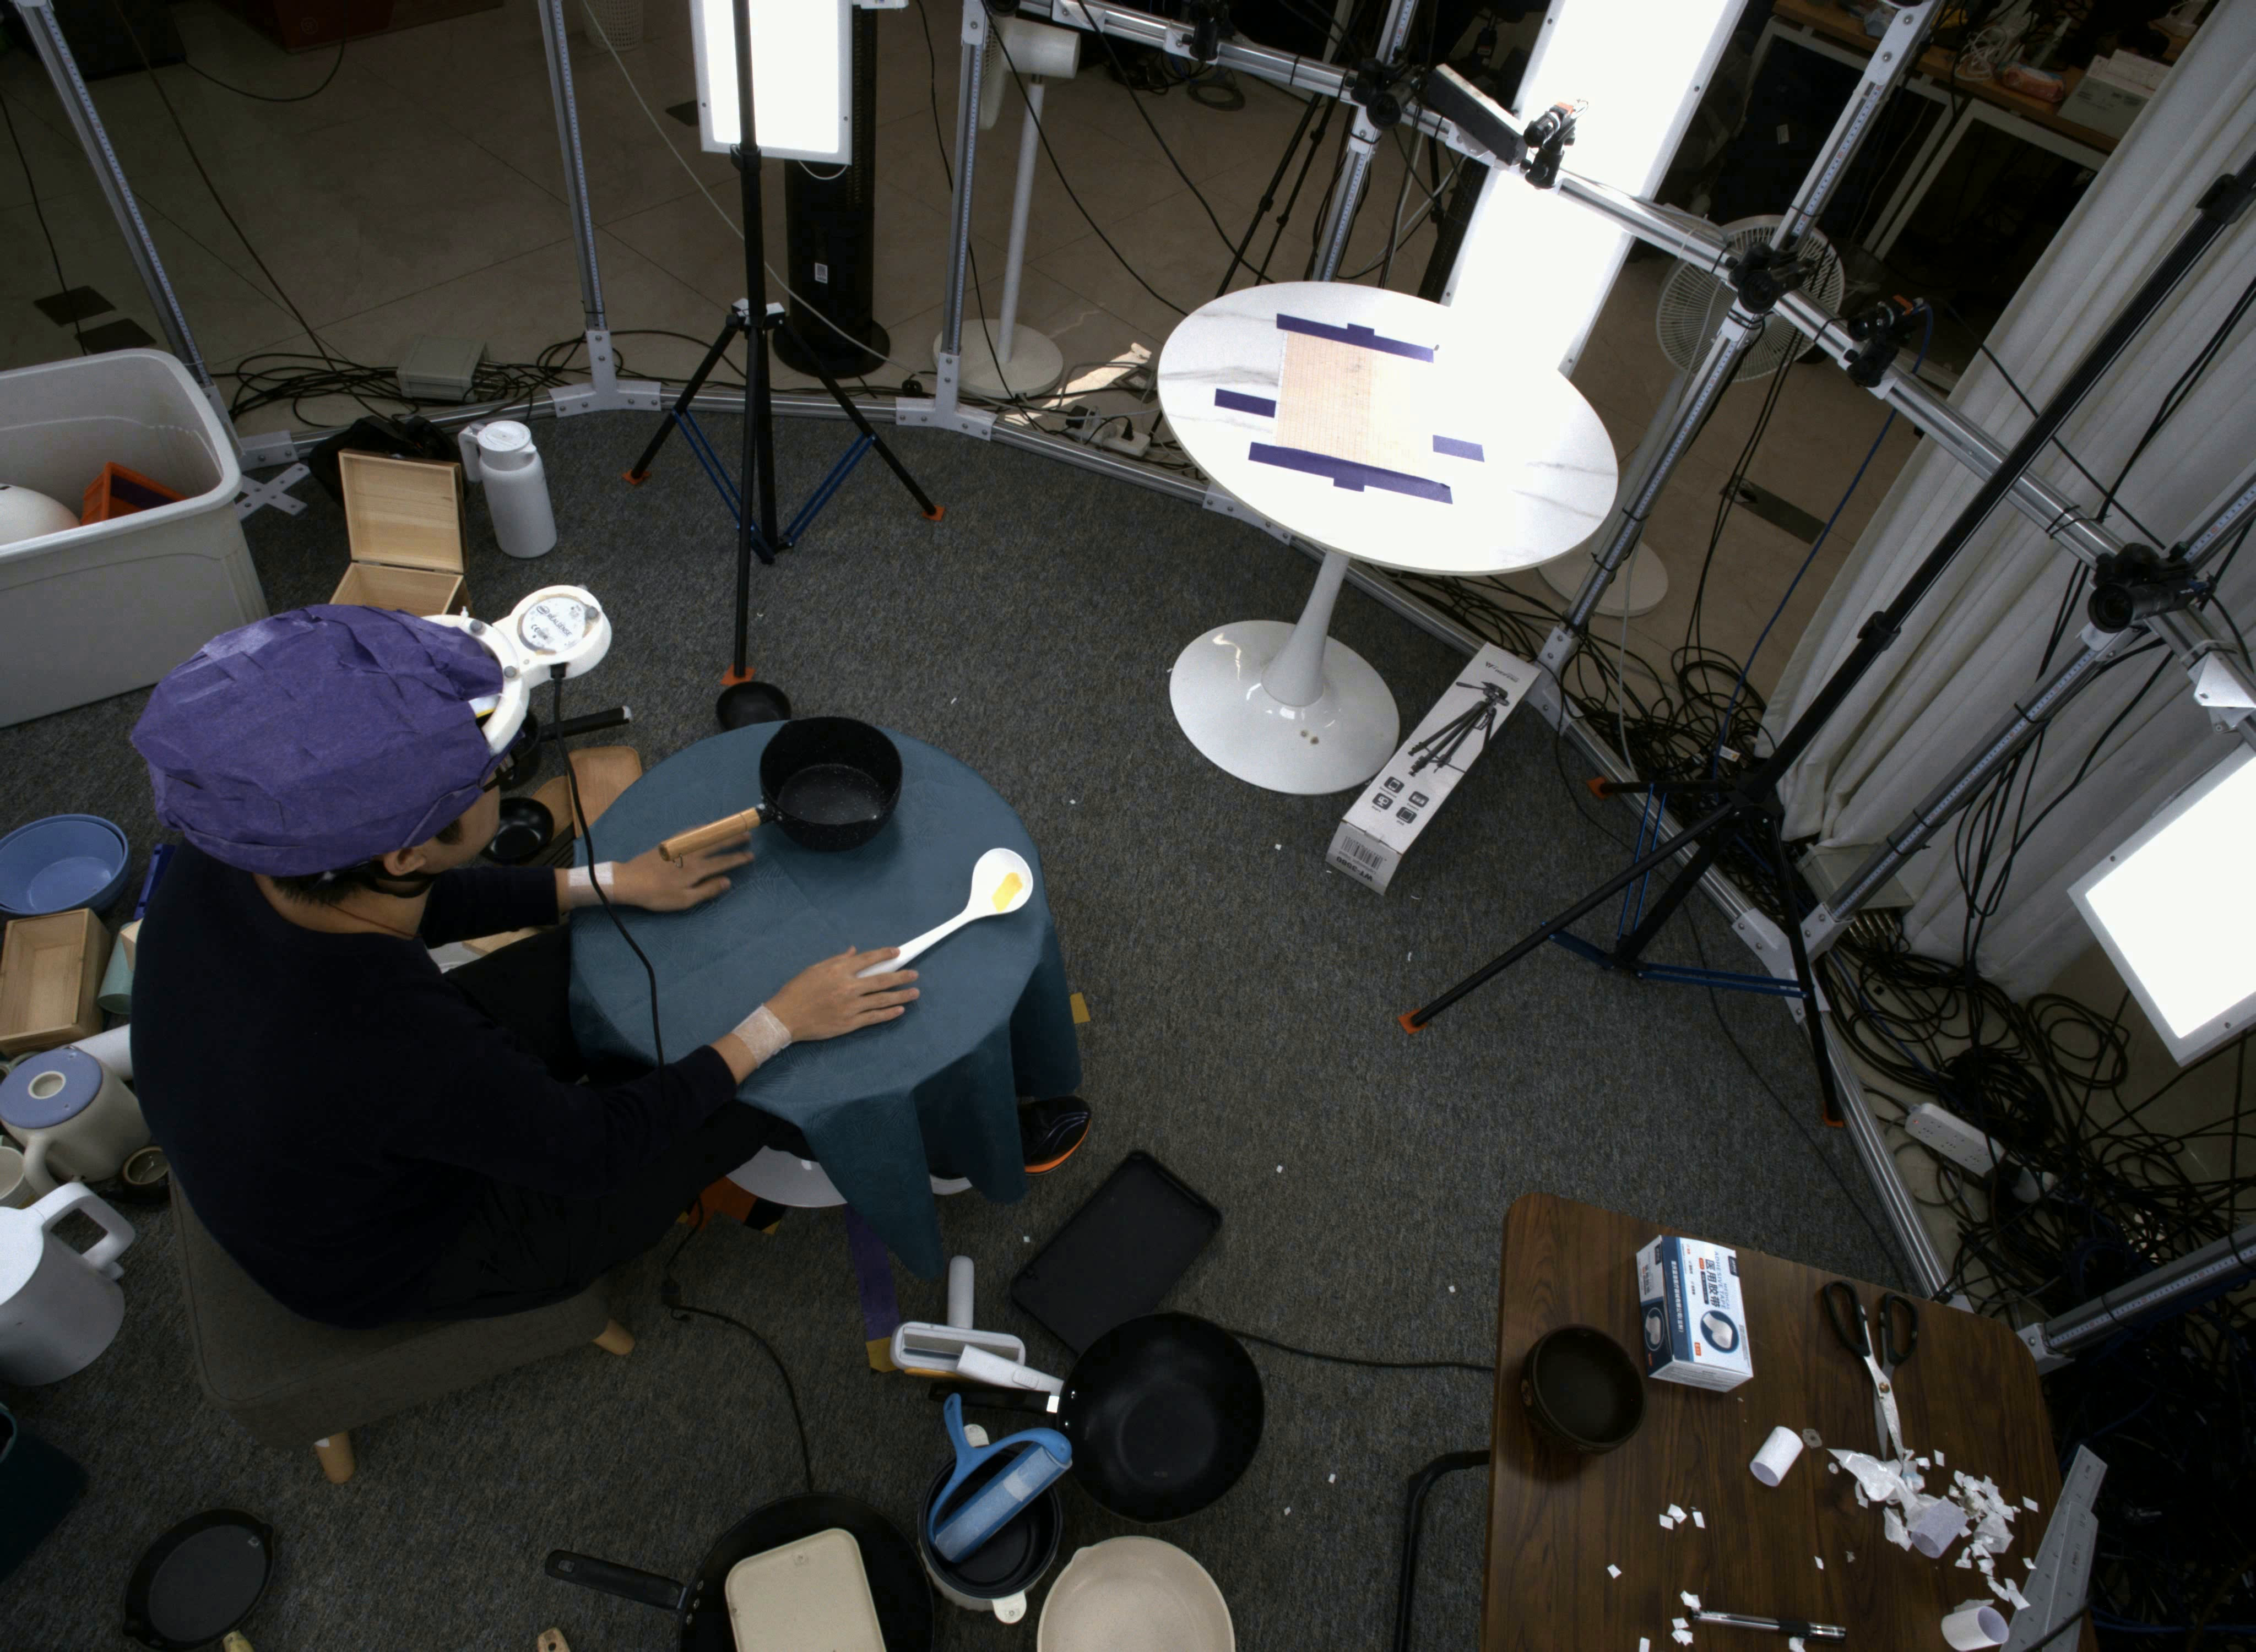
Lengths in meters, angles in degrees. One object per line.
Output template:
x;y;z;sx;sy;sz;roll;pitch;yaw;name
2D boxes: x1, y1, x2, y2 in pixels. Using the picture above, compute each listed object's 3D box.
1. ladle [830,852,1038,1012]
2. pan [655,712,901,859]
-0.241;0.132;1.623;0.294;0.071;0.089;-32;73;-31;ladle
-0.446;-0.021;1.654;0.203;0.110;0.344;43;54;17;pan
